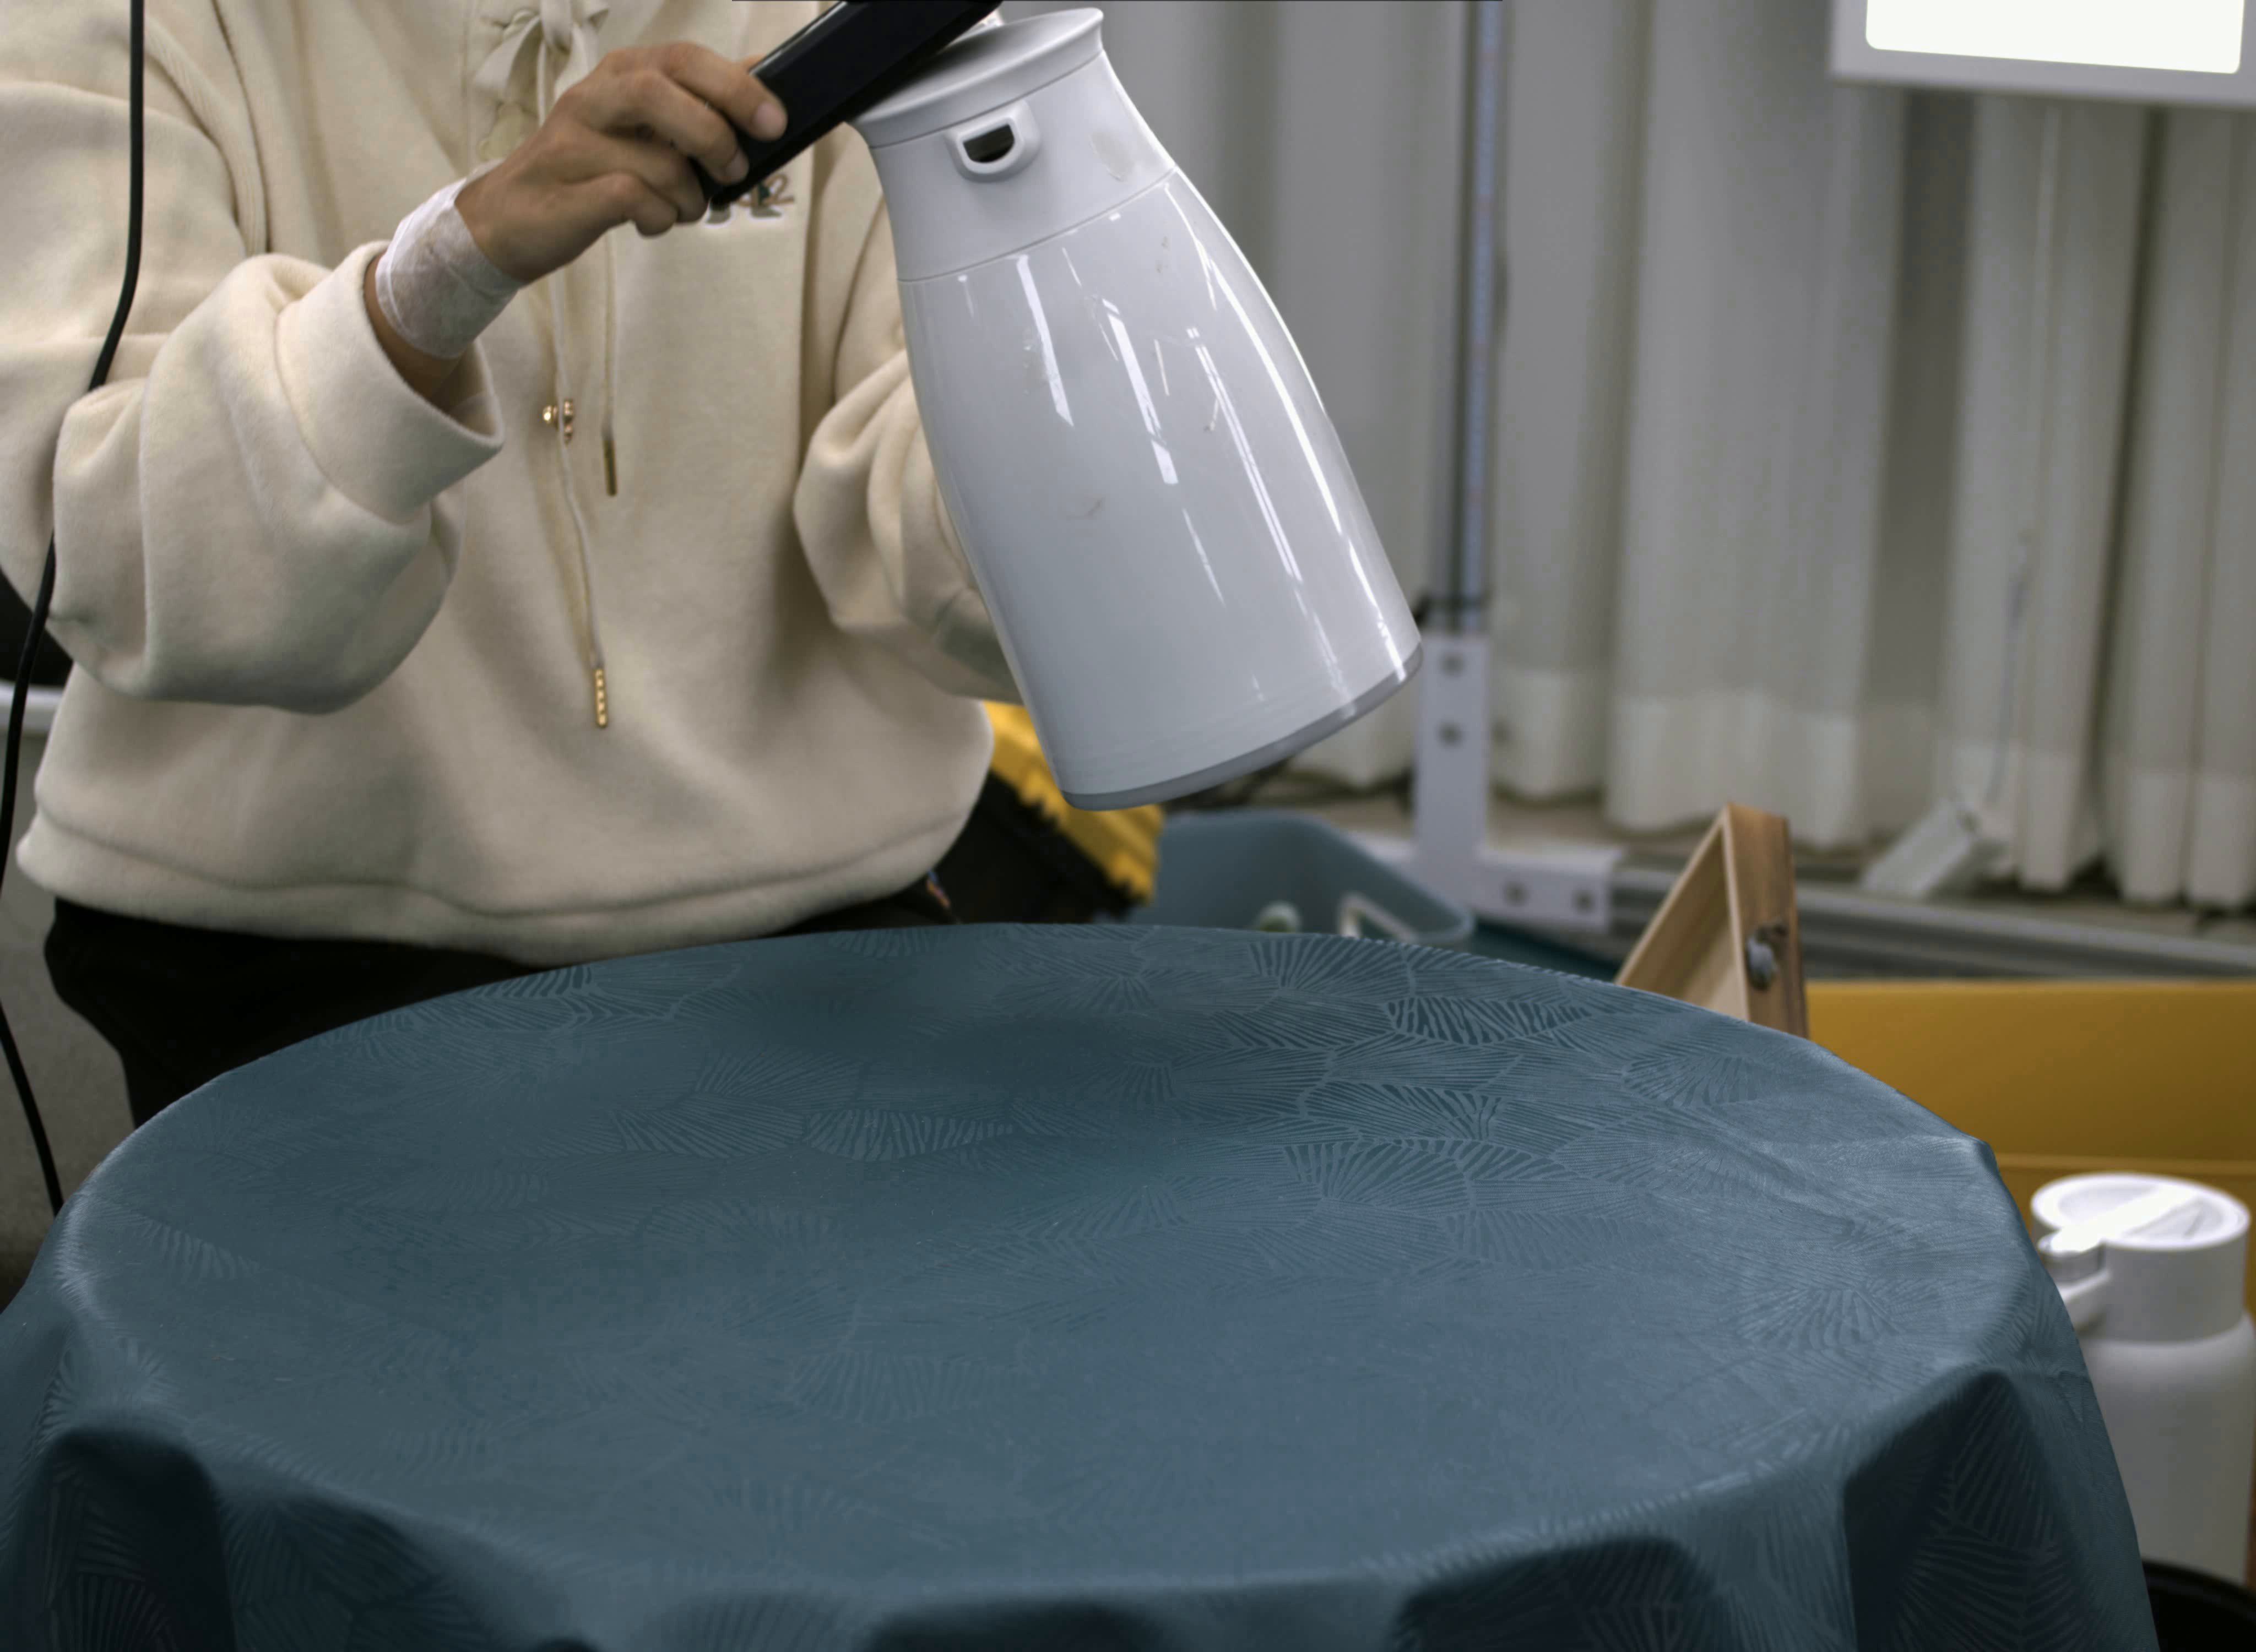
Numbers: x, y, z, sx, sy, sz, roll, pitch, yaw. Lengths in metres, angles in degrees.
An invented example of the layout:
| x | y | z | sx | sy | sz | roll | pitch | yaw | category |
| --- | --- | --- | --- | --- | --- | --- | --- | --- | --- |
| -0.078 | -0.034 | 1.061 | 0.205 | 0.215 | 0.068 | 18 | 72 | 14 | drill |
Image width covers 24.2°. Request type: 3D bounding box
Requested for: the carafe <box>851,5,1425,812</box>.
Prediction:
| x | y | z | sx | sy | sz | roll | pitch | yaw | category |
| --- | --- | --- | --- | --- | --- | --- | --- | --- | --- |
| -0.008 | -0.148 | 1.758 | 0.132 | 0.251 | 0.167 | -22 | 14 | 4 | carafe |

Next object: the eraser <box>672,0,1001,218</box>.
| x | y | z | sx | sy | sz | roll | pitch | yaw | category |
| --- | --- | --- | --- | --- | --- | --- | --- | --- | --- |
| -0.090 | -0.248 | 1.705 | 0.125 | 0.030 | 0.053 | -35 | 11 | 25 | eraser |
